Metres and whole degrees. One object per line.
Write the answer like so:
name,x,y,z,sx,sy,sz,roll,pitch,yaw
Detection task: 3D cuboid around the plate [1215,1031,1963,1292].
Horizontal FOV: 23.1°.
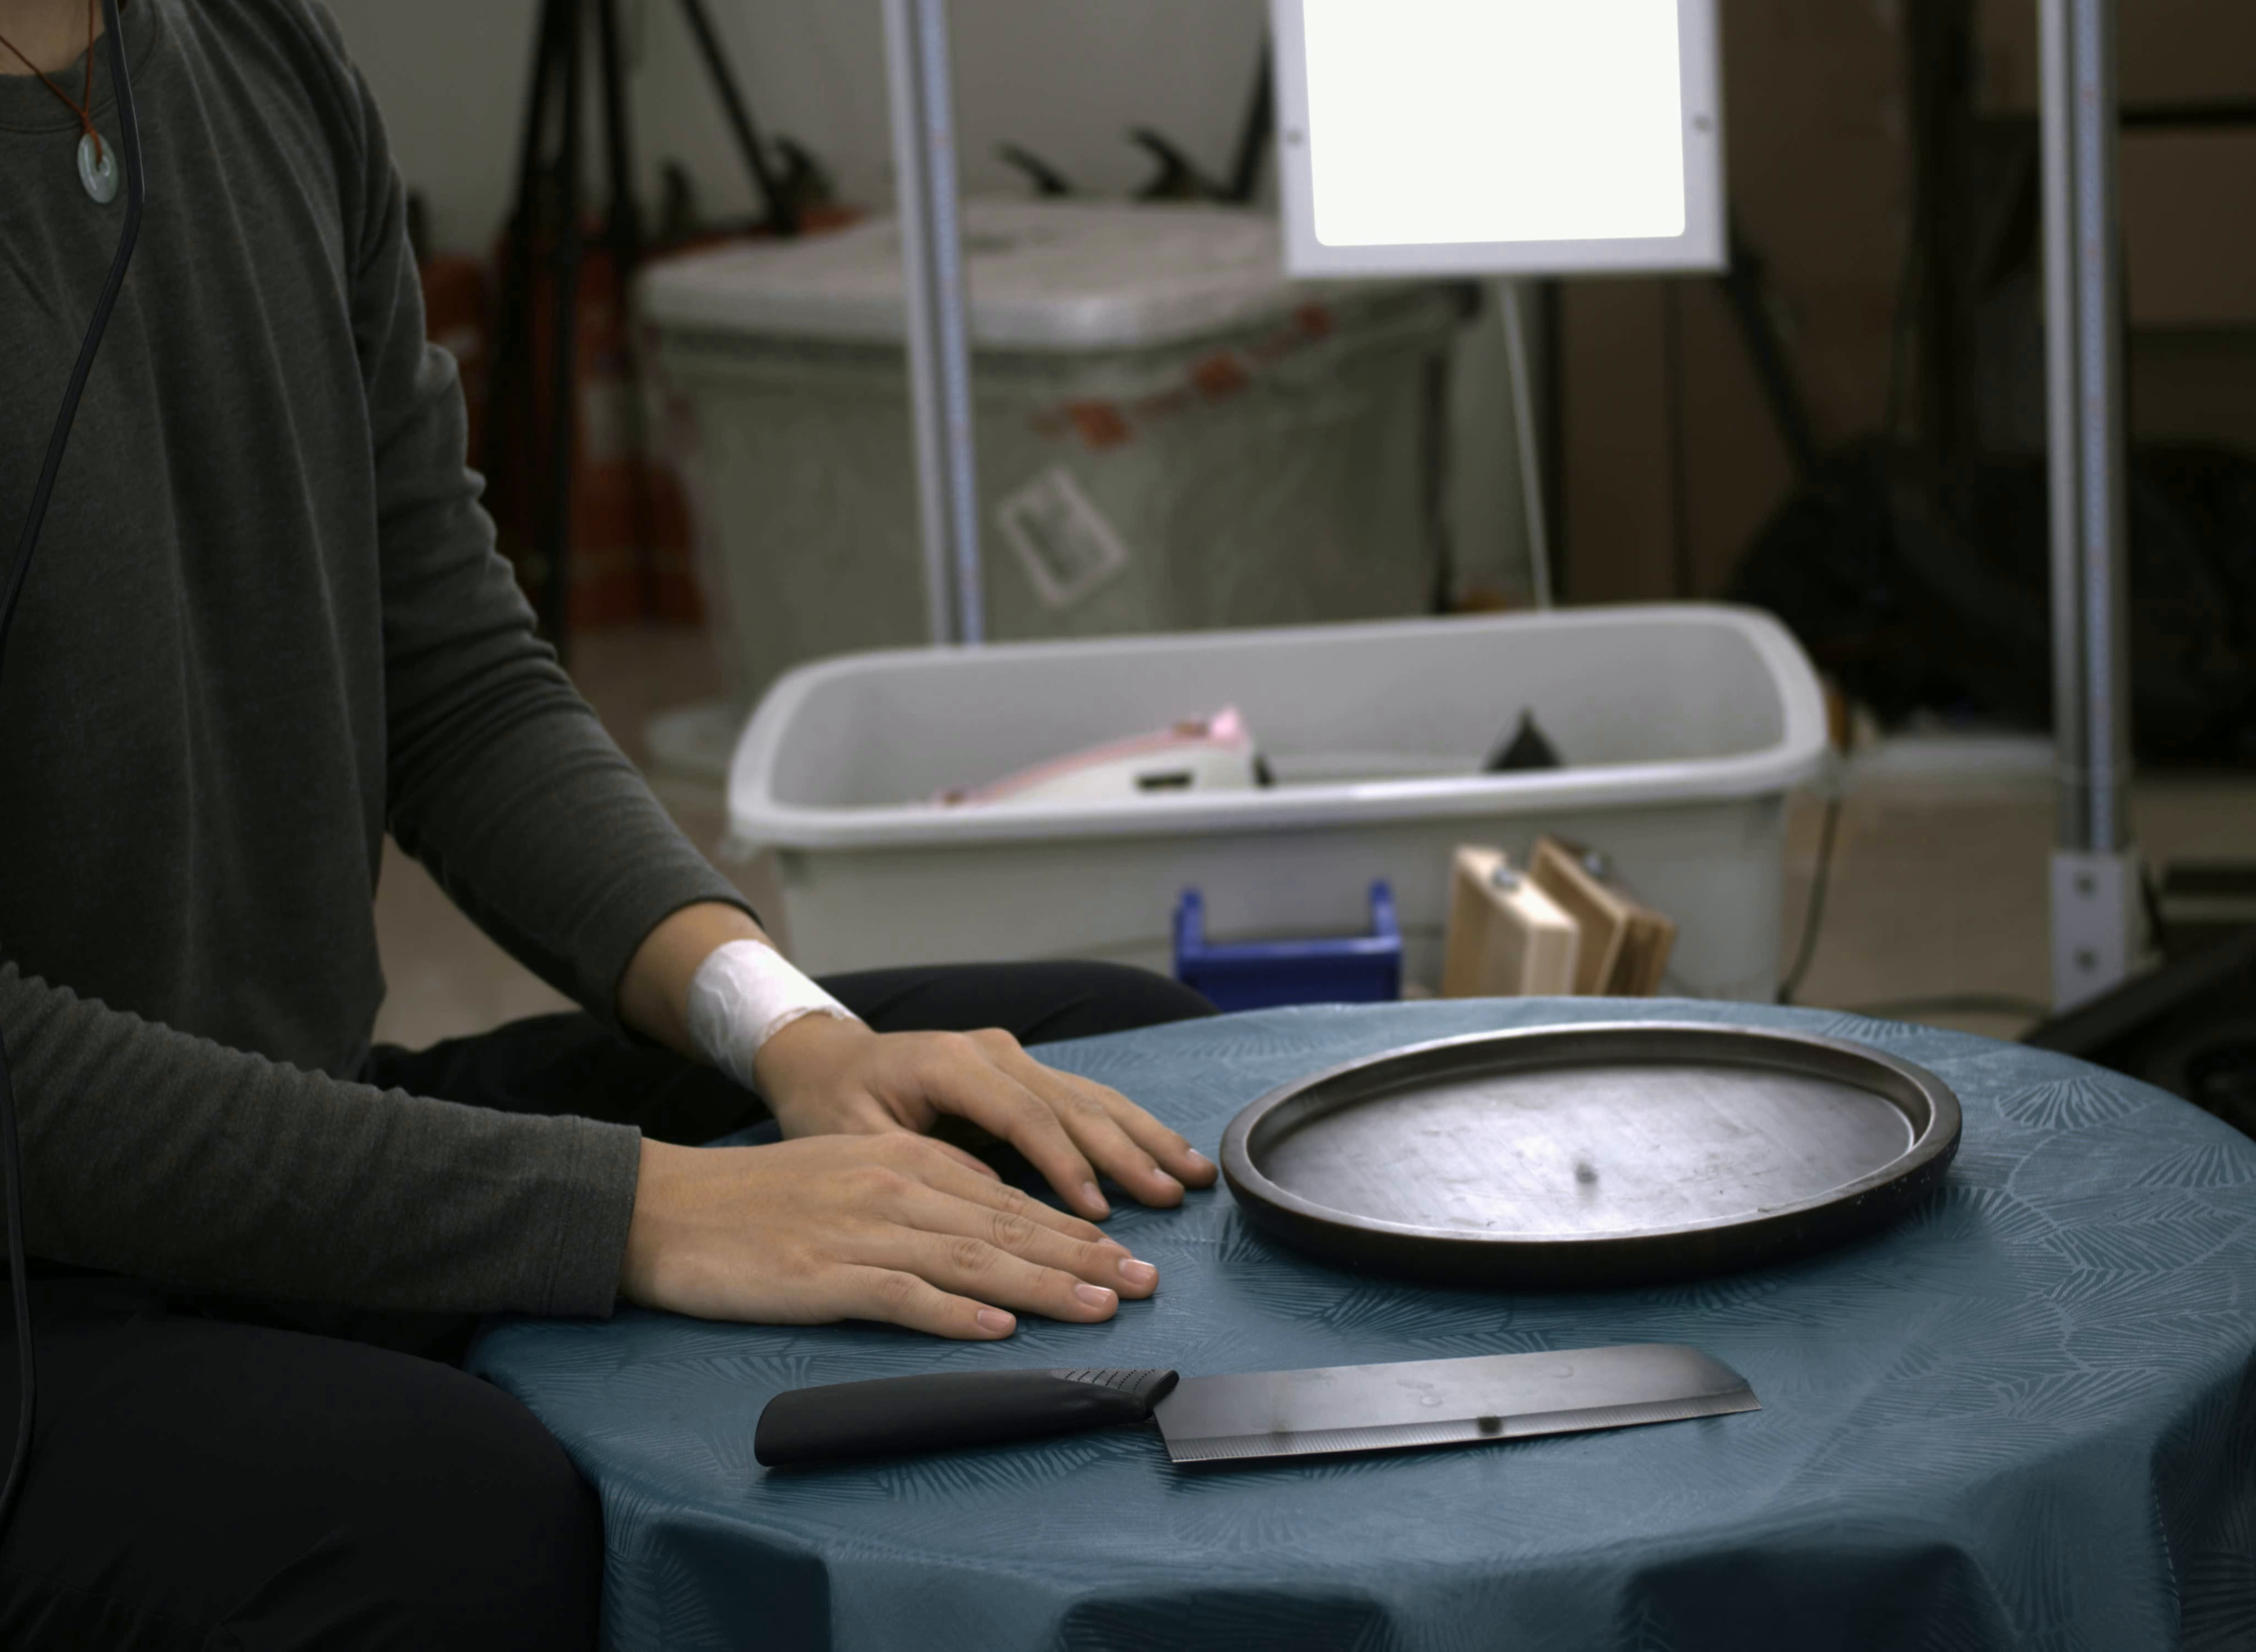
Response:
plate,0.158,0.111,1.862,0.254,0.029,0.254,-4,14,0

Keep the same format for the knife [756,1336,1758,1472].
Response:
knife,0.039,0.176,1.659,0.301,0.021,0.081,-3,15,1
